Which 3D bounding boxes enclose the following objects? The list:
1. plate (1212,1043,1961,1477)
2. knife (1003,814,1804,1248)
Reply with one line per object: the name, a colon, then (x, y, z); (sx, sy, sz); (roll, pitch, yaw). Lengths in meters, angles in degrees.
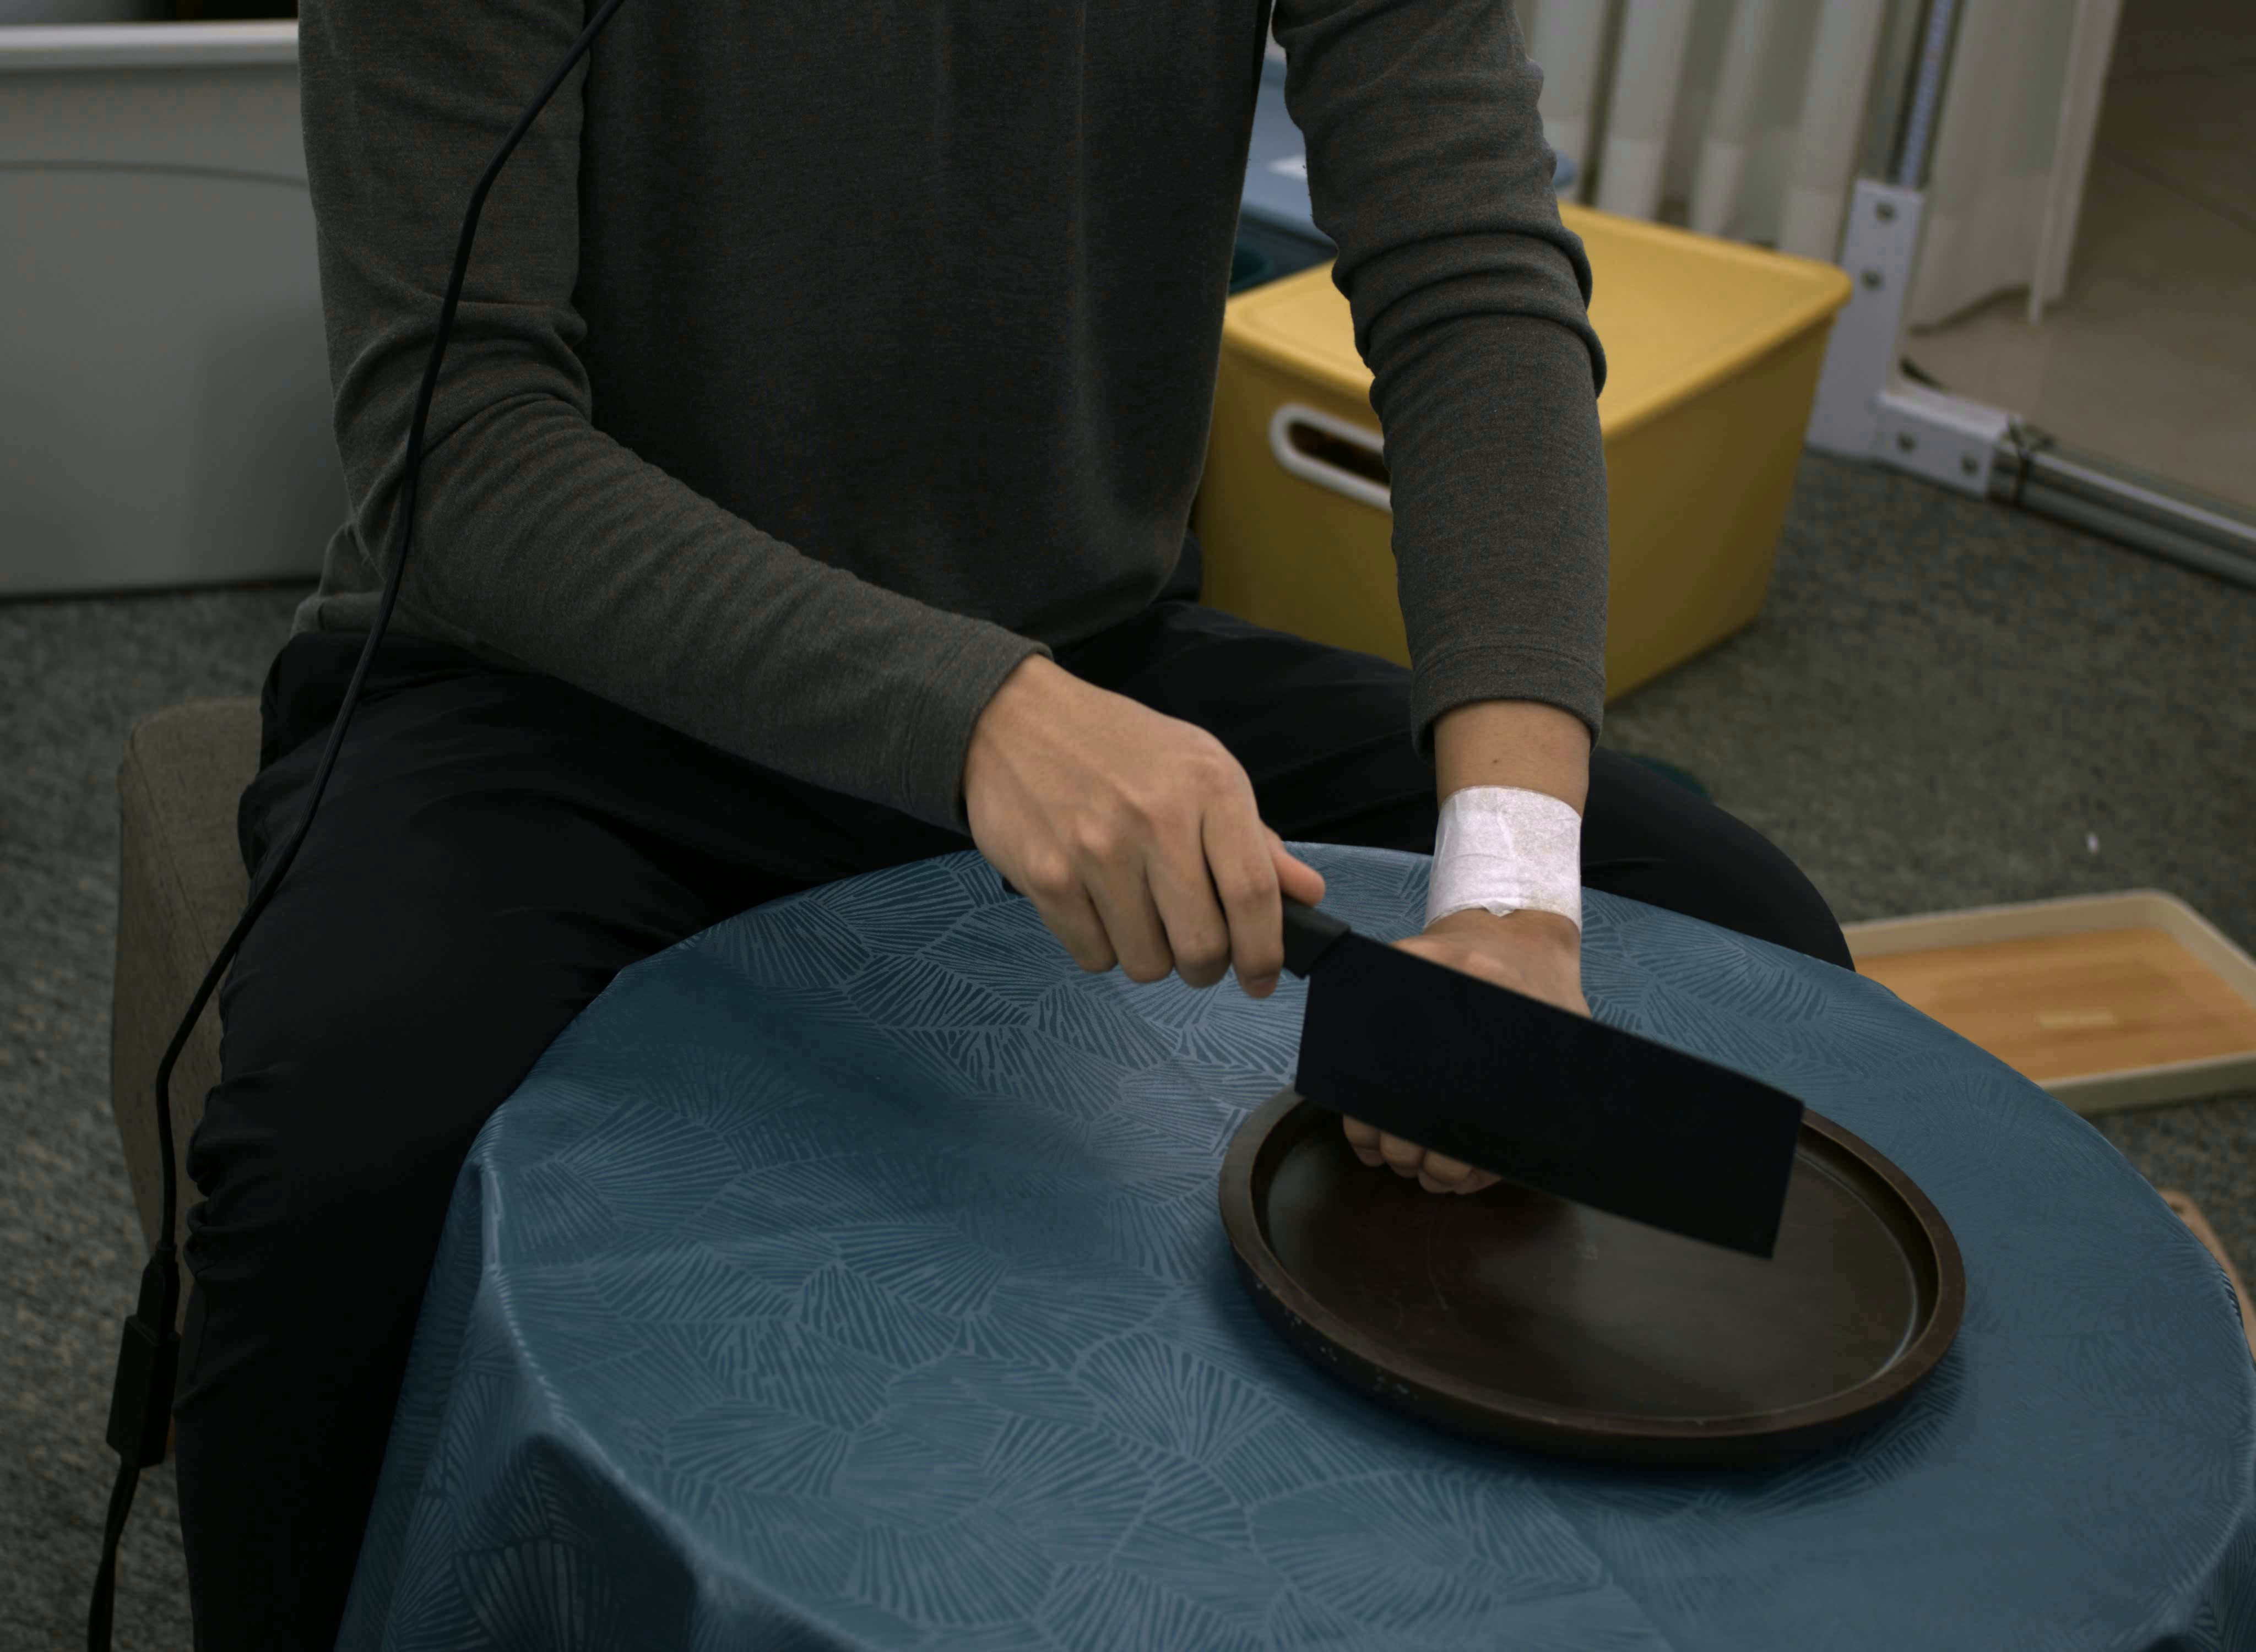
plate: (0.152, 0.142, 1.780); (0.254, 0.029, 0.256); (4, 27, -3)
knife: (0.087, 0.063, 1.770); (0.304, 0.081, 0.021); (24, 26, 25)
